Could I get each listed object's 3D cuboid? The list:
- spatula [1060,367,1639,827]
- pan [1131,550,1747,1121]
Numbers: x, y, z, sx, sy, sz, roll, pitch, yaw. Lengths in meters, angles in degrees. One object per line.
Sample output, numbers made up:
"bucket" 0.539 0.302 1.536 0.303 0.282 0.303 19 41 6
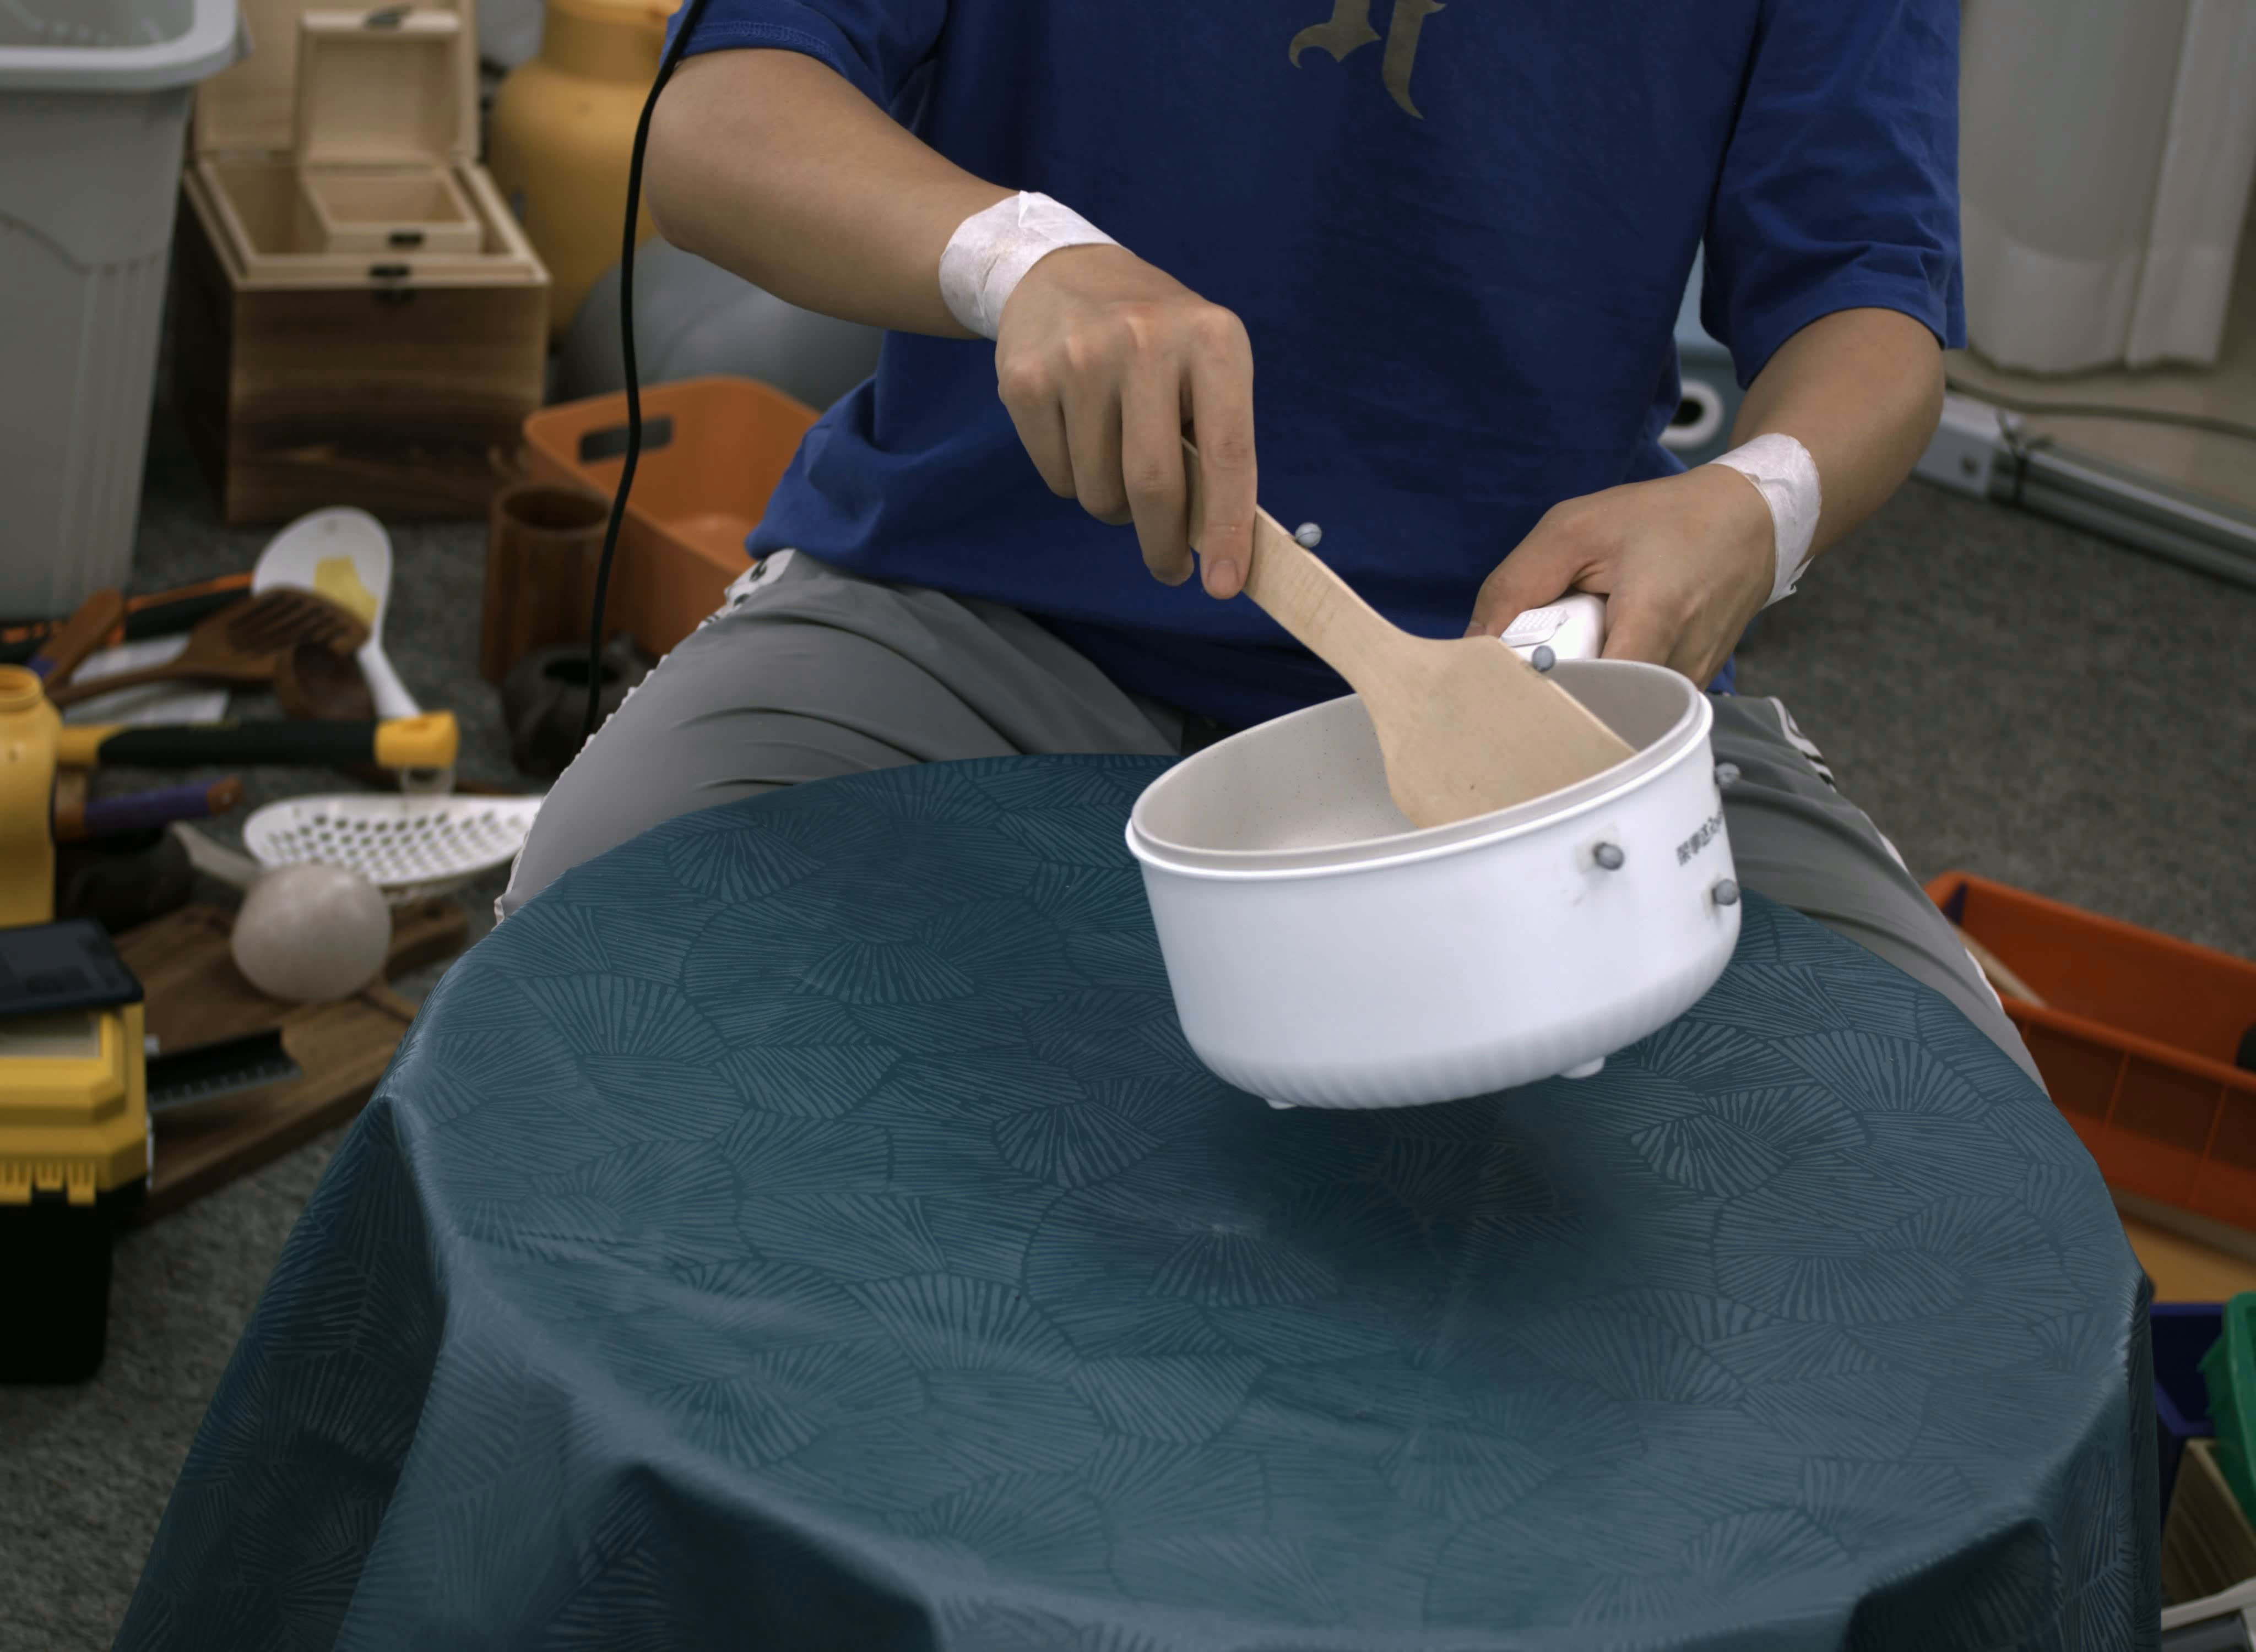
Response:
"spatula" 0.067 -0.076 1.831 0.010 0.072 0.295 5 31 -48
"pan" 0.133 0.000 1.863 0.201 0.102 0.355 -10 16 22
